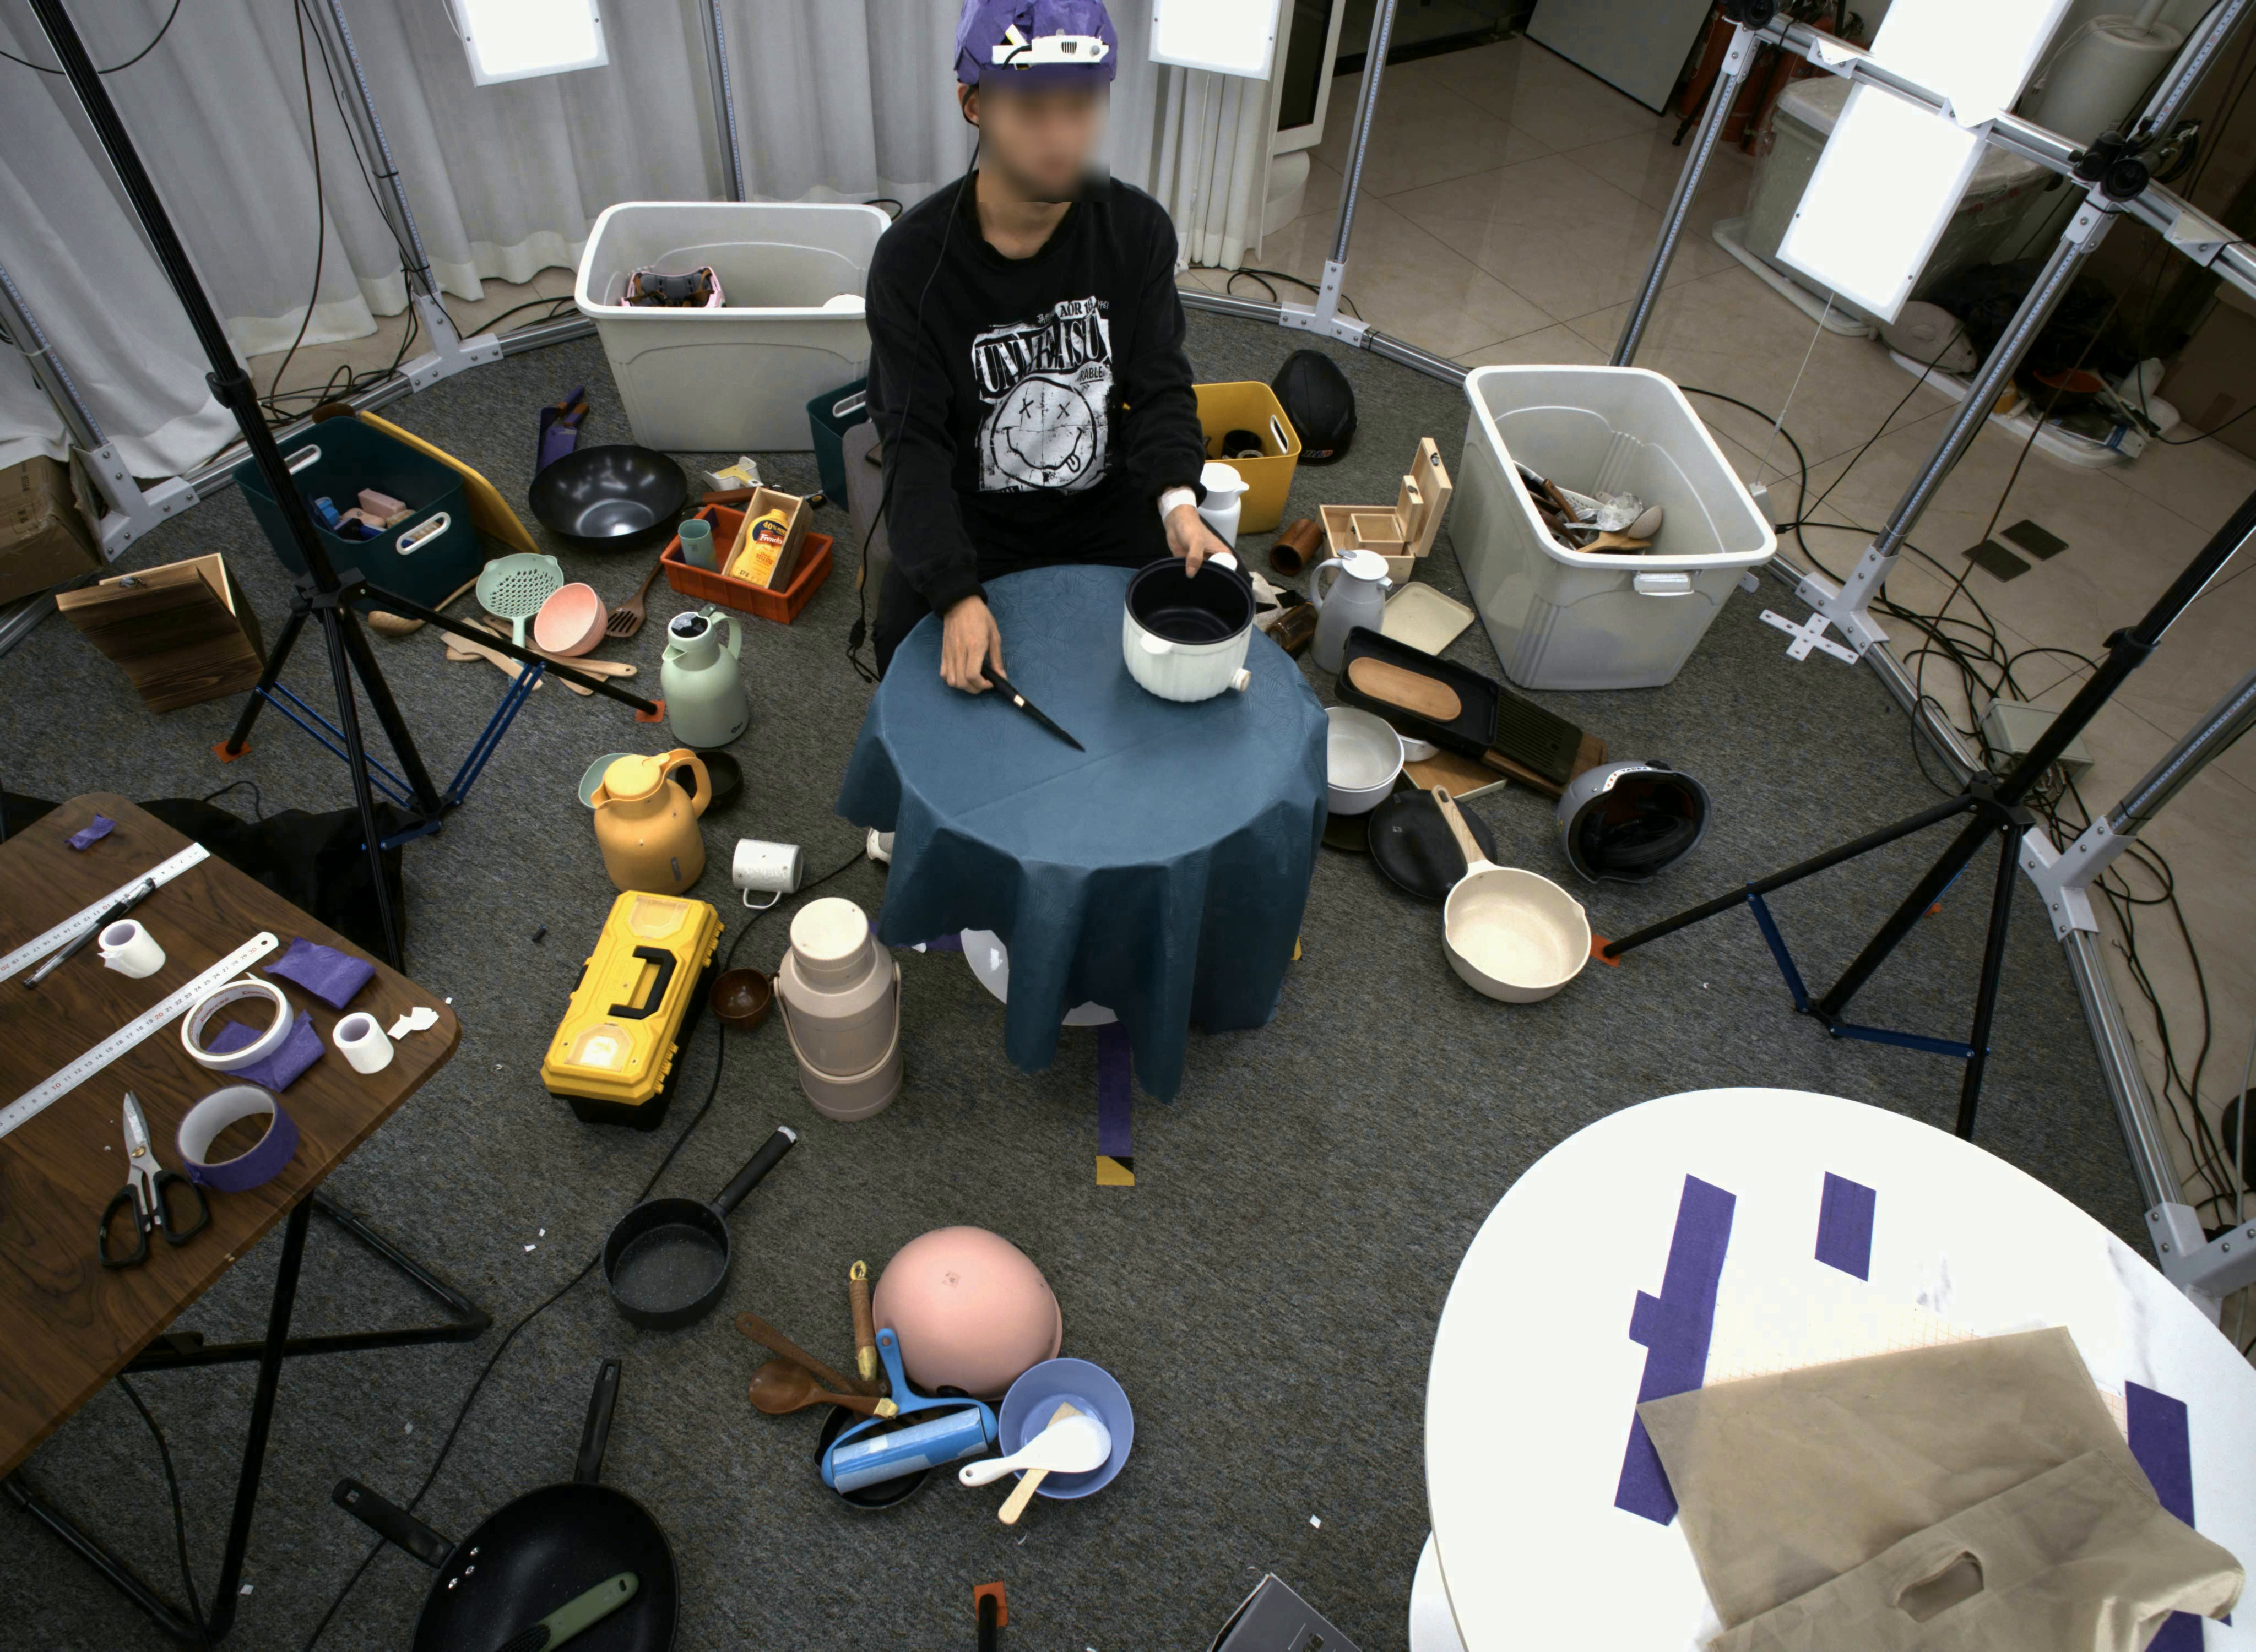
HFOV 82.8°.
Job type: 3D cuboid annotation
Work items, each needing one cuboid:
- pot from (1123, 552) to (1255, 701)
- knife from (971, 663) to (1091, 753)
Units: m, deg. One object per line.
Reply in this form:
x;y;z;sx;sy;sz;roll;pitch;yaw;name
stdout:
0.088;-0.271;1.820;0.192;0.139;0.244;22;53;19;pot
-0.137;-0.166;1.796;0.228;0.017;0.026;38;23;23;knife
